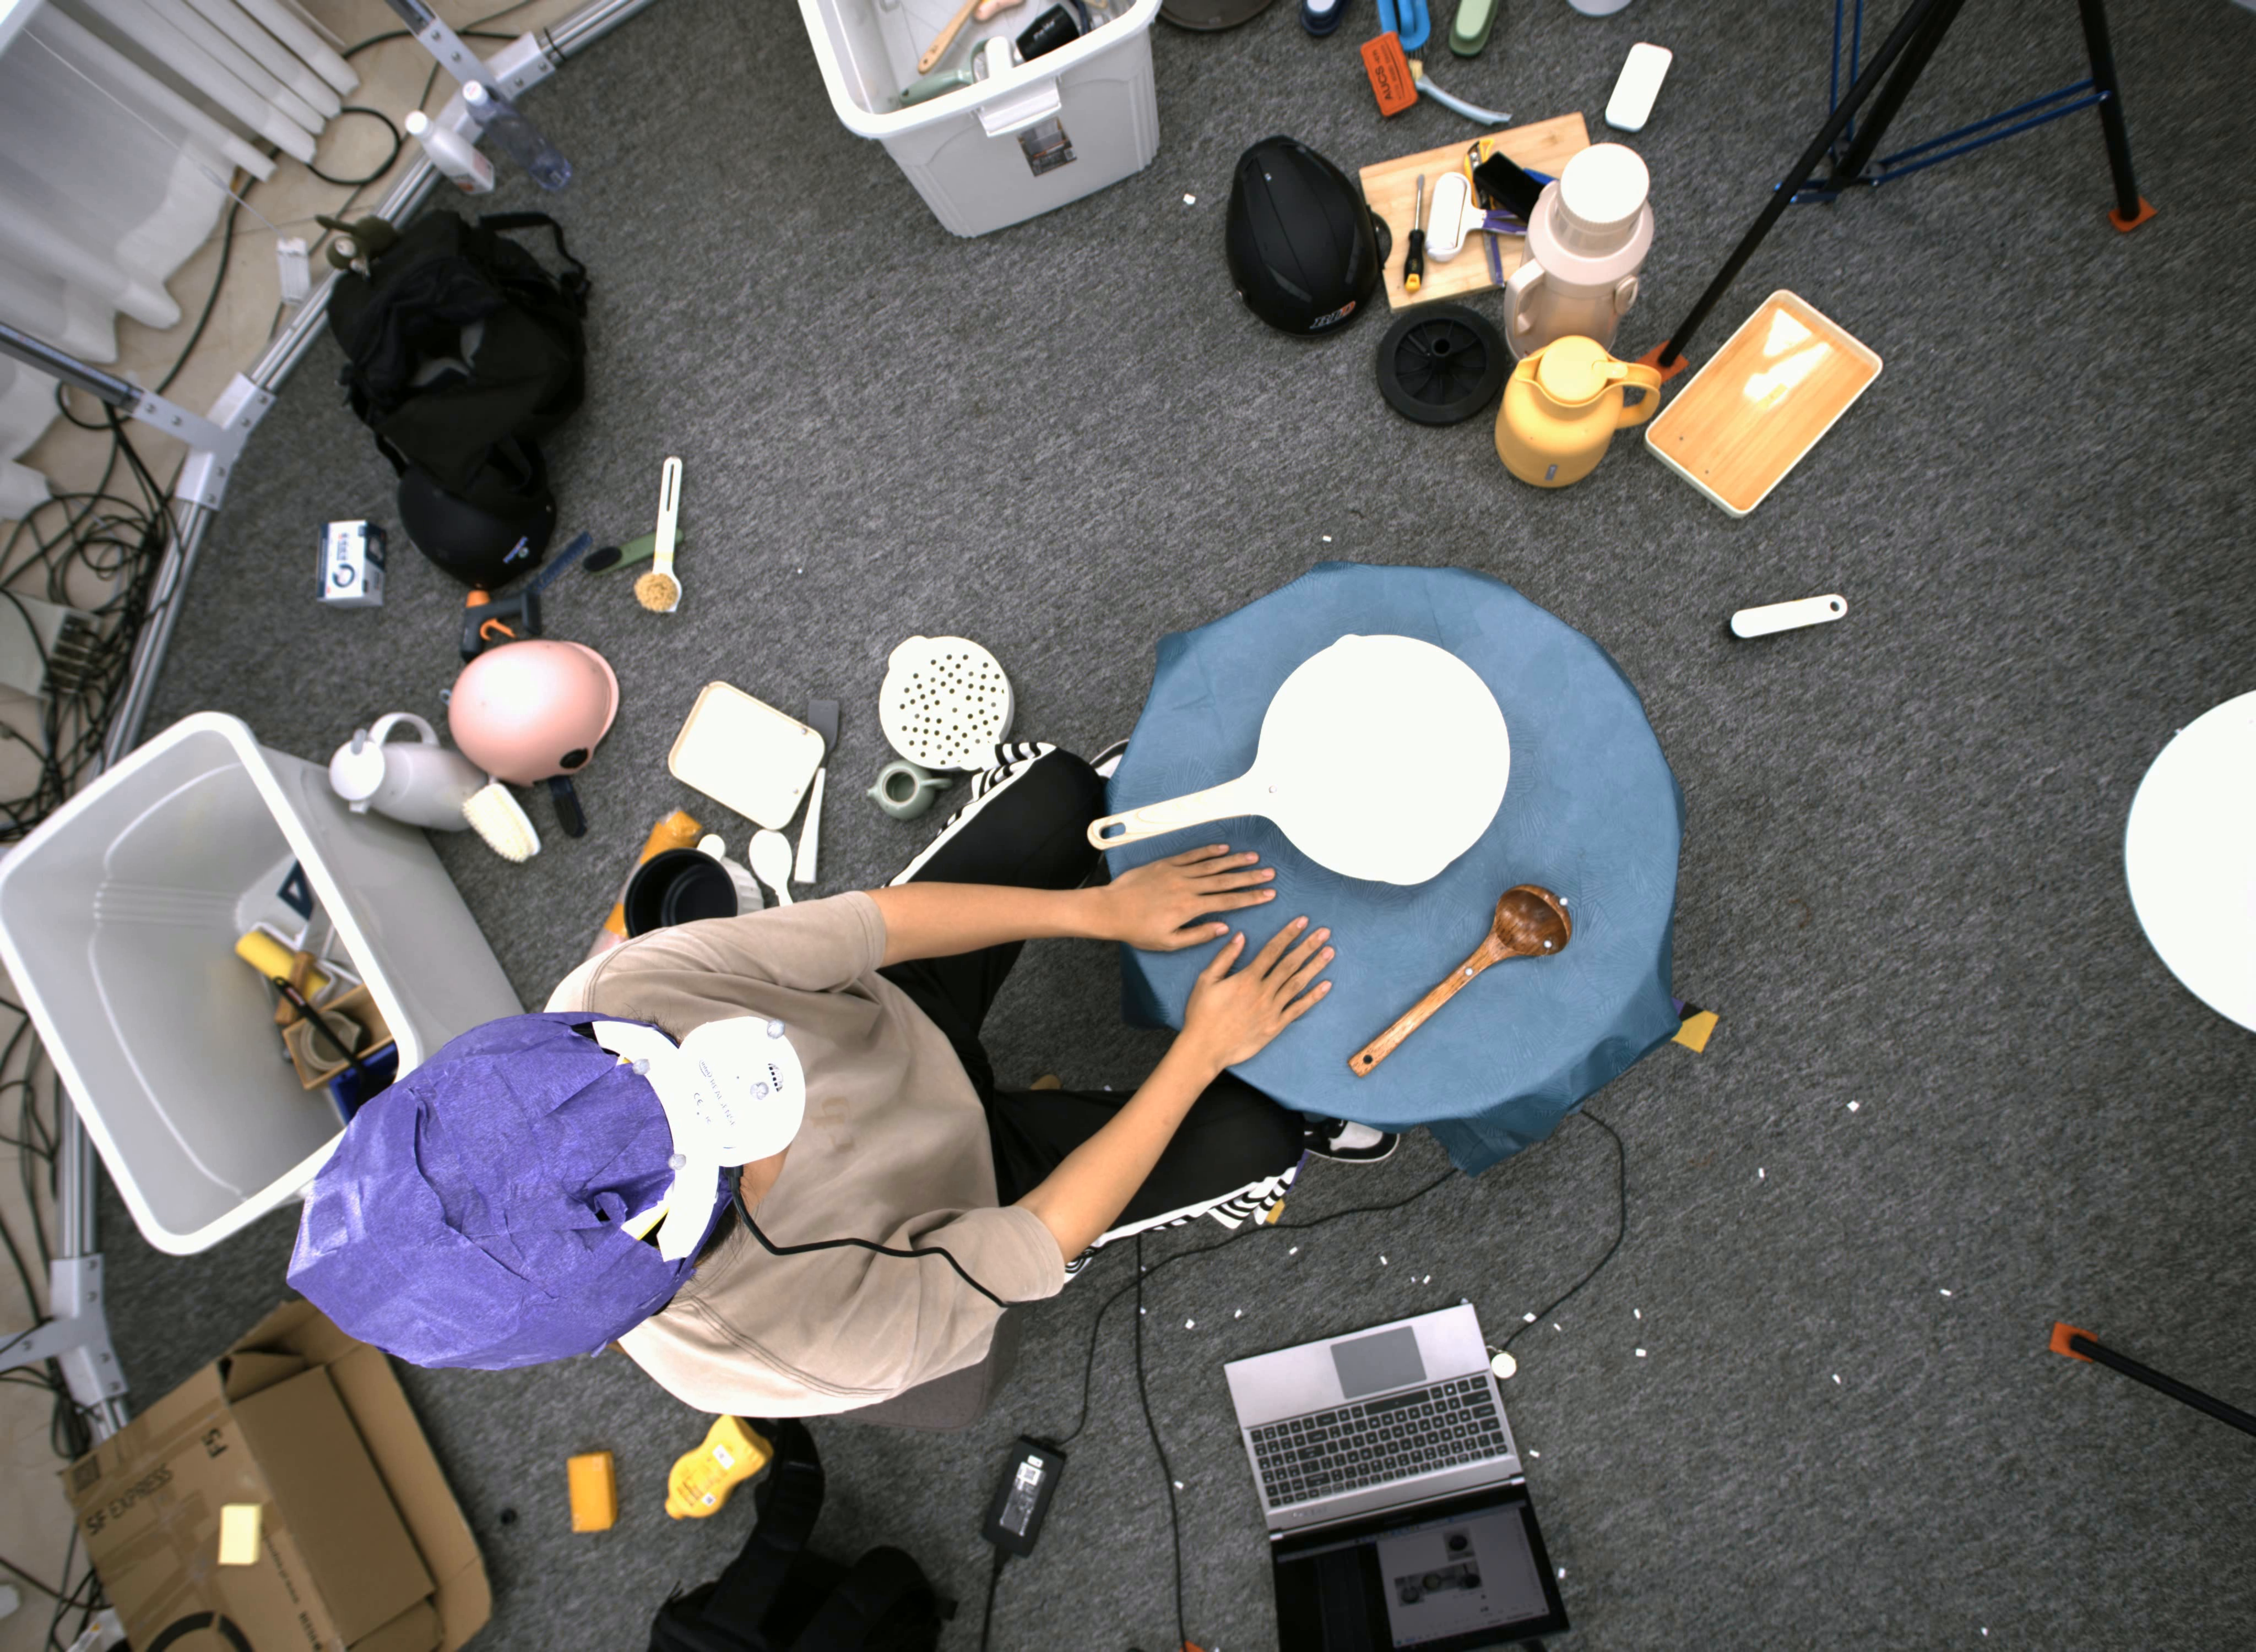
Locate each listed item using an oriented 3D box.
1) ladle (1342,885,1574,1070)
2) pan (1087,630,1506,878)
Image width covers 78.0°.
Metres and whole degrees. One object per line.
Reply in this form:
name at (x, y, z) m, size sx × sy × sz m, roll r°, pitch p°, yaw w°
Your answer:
ladle at (0.333, 0.162, 1.404) m, size 0.275 × 0.076 × 0.081 m, roll -39°, pitch 81°, yaw 5°
pan at (0.172, -0.046, 1.436) m, size 0.437 × 0.102 × 0.262 m, roll -17°, pitch 85°, yaw 9°
